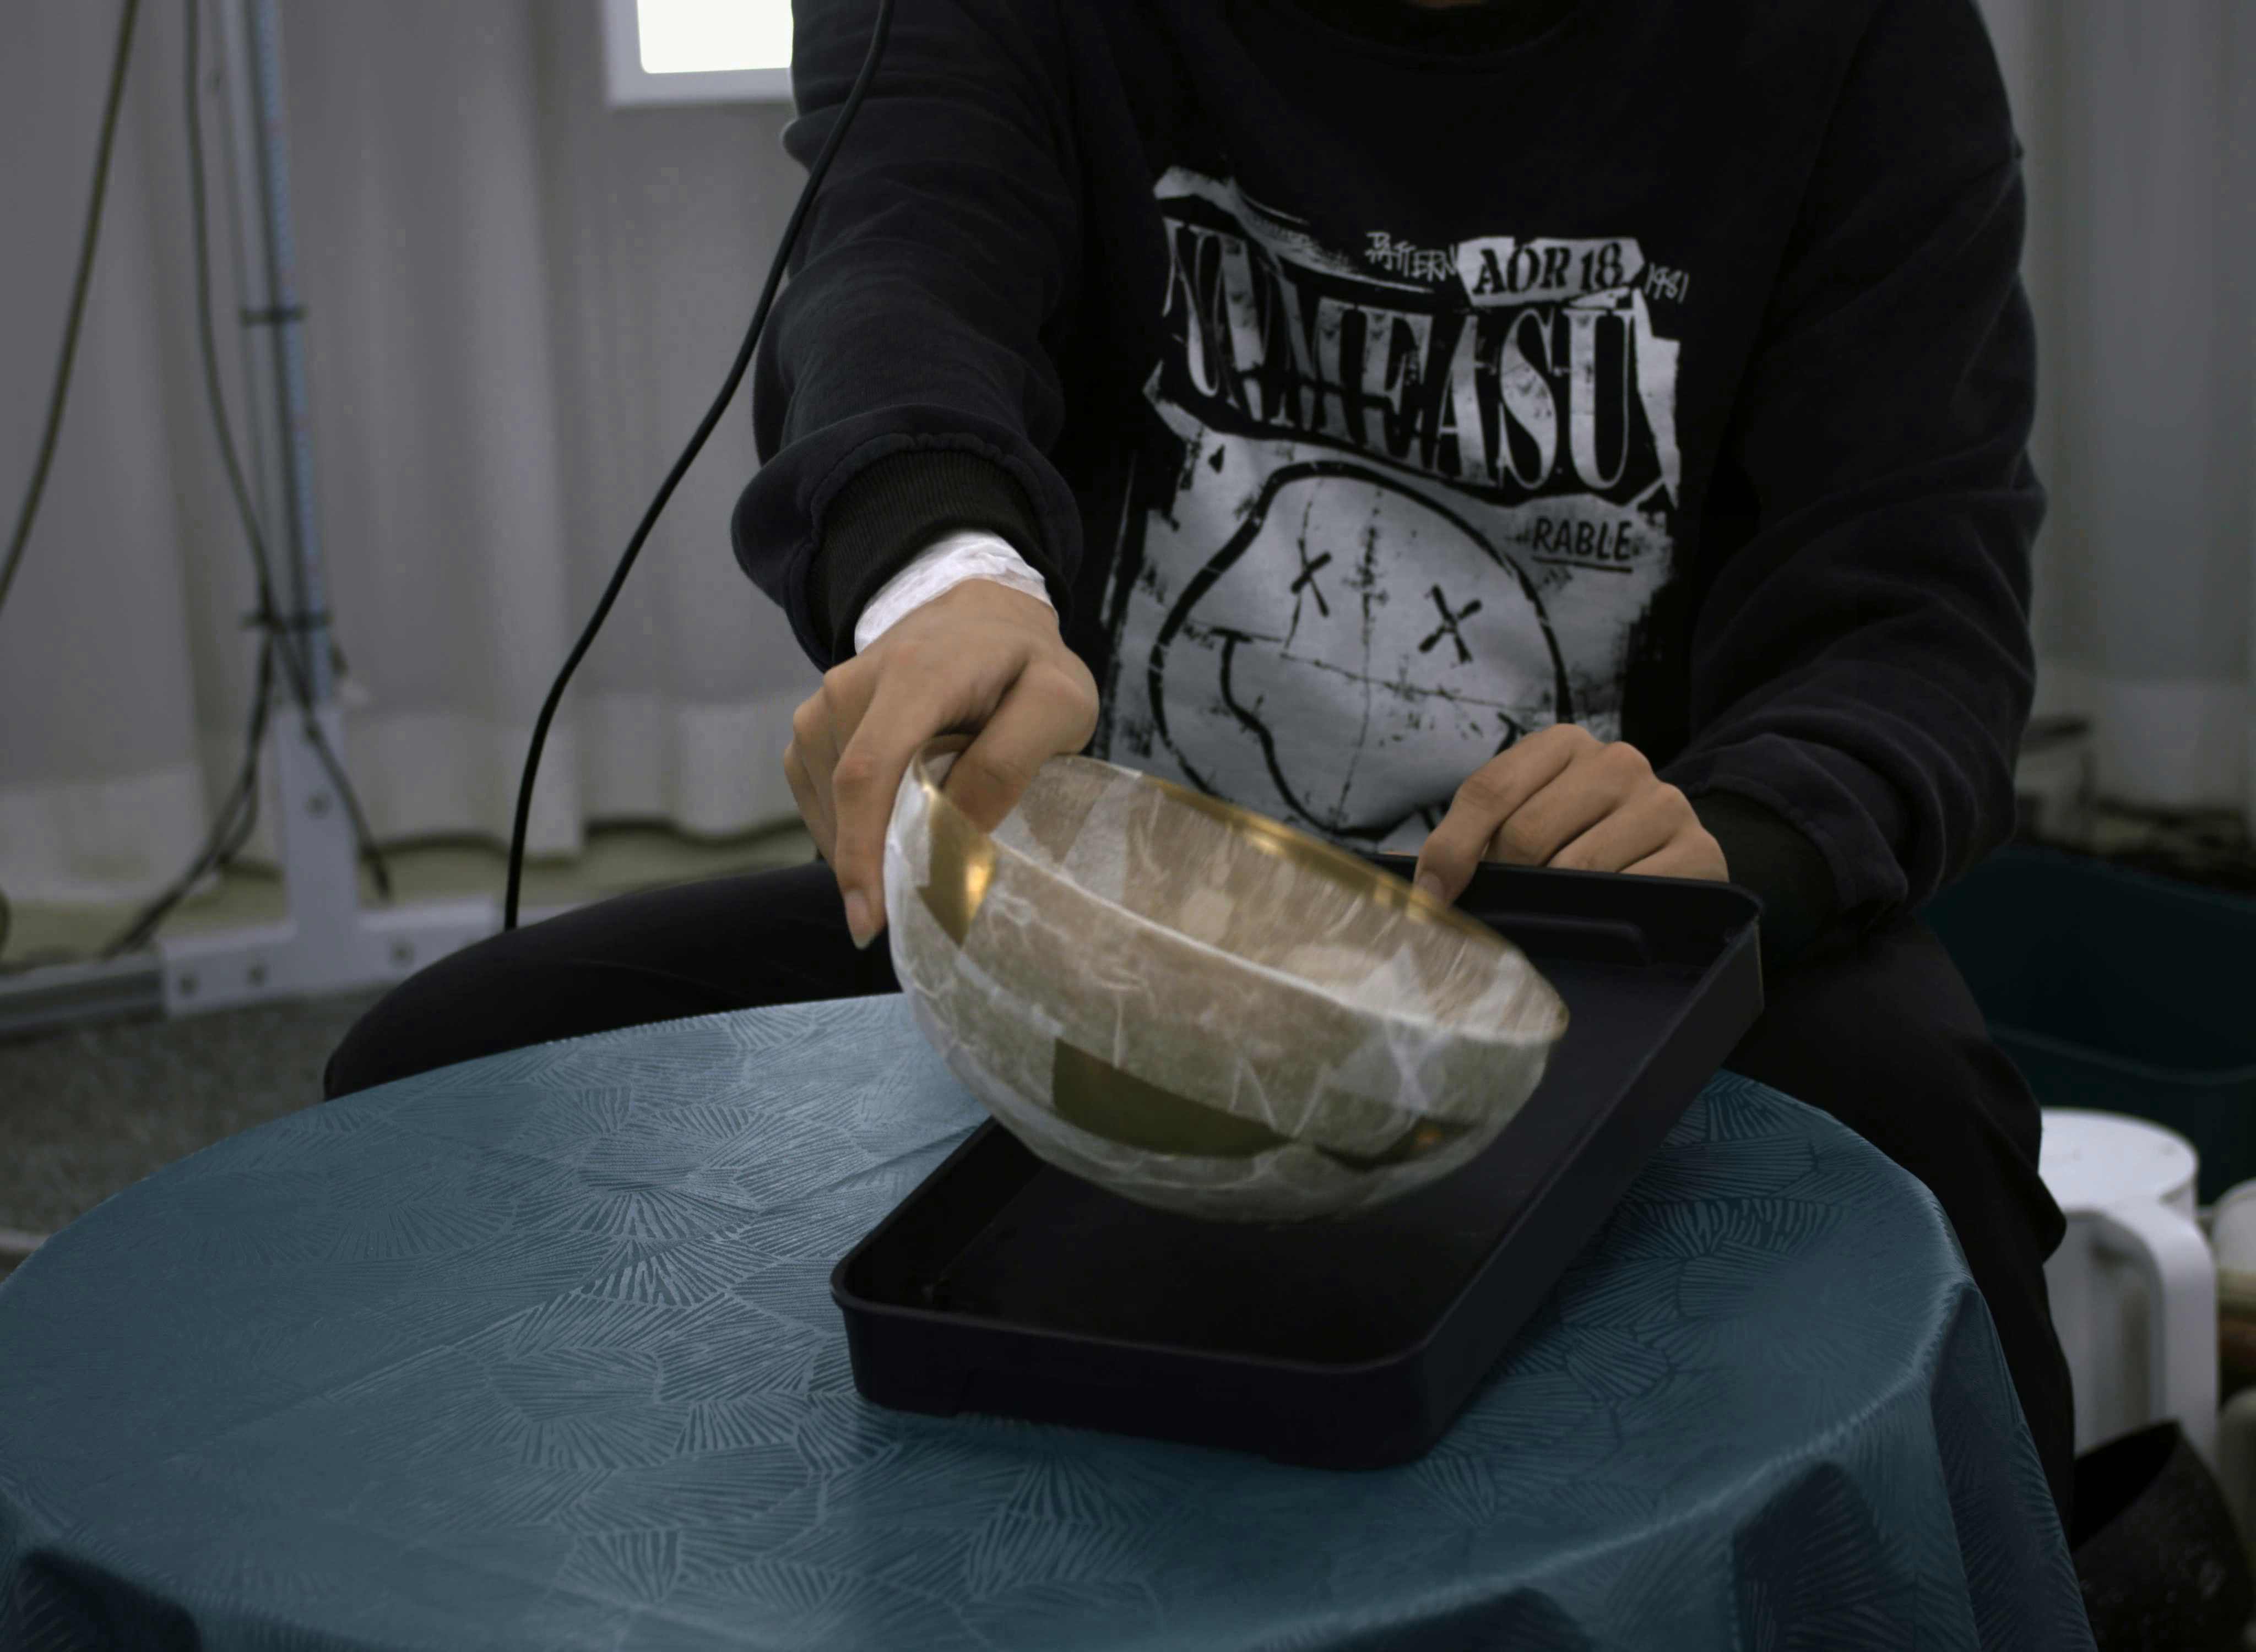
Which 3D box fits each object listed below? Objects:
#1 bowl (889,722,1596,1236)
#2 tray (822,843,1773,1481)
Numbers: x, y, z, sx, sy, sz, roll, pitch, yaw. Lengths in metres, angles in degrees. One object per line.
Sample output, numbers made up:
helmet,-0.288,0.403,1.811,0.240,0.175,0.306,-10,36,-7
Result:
bowl,0.017,0.056,1.544,0.214,0.094,0.216,23,11,-5
tray,0.059,0.092,1.628,0.184,0.037,0.320,6,27,27
